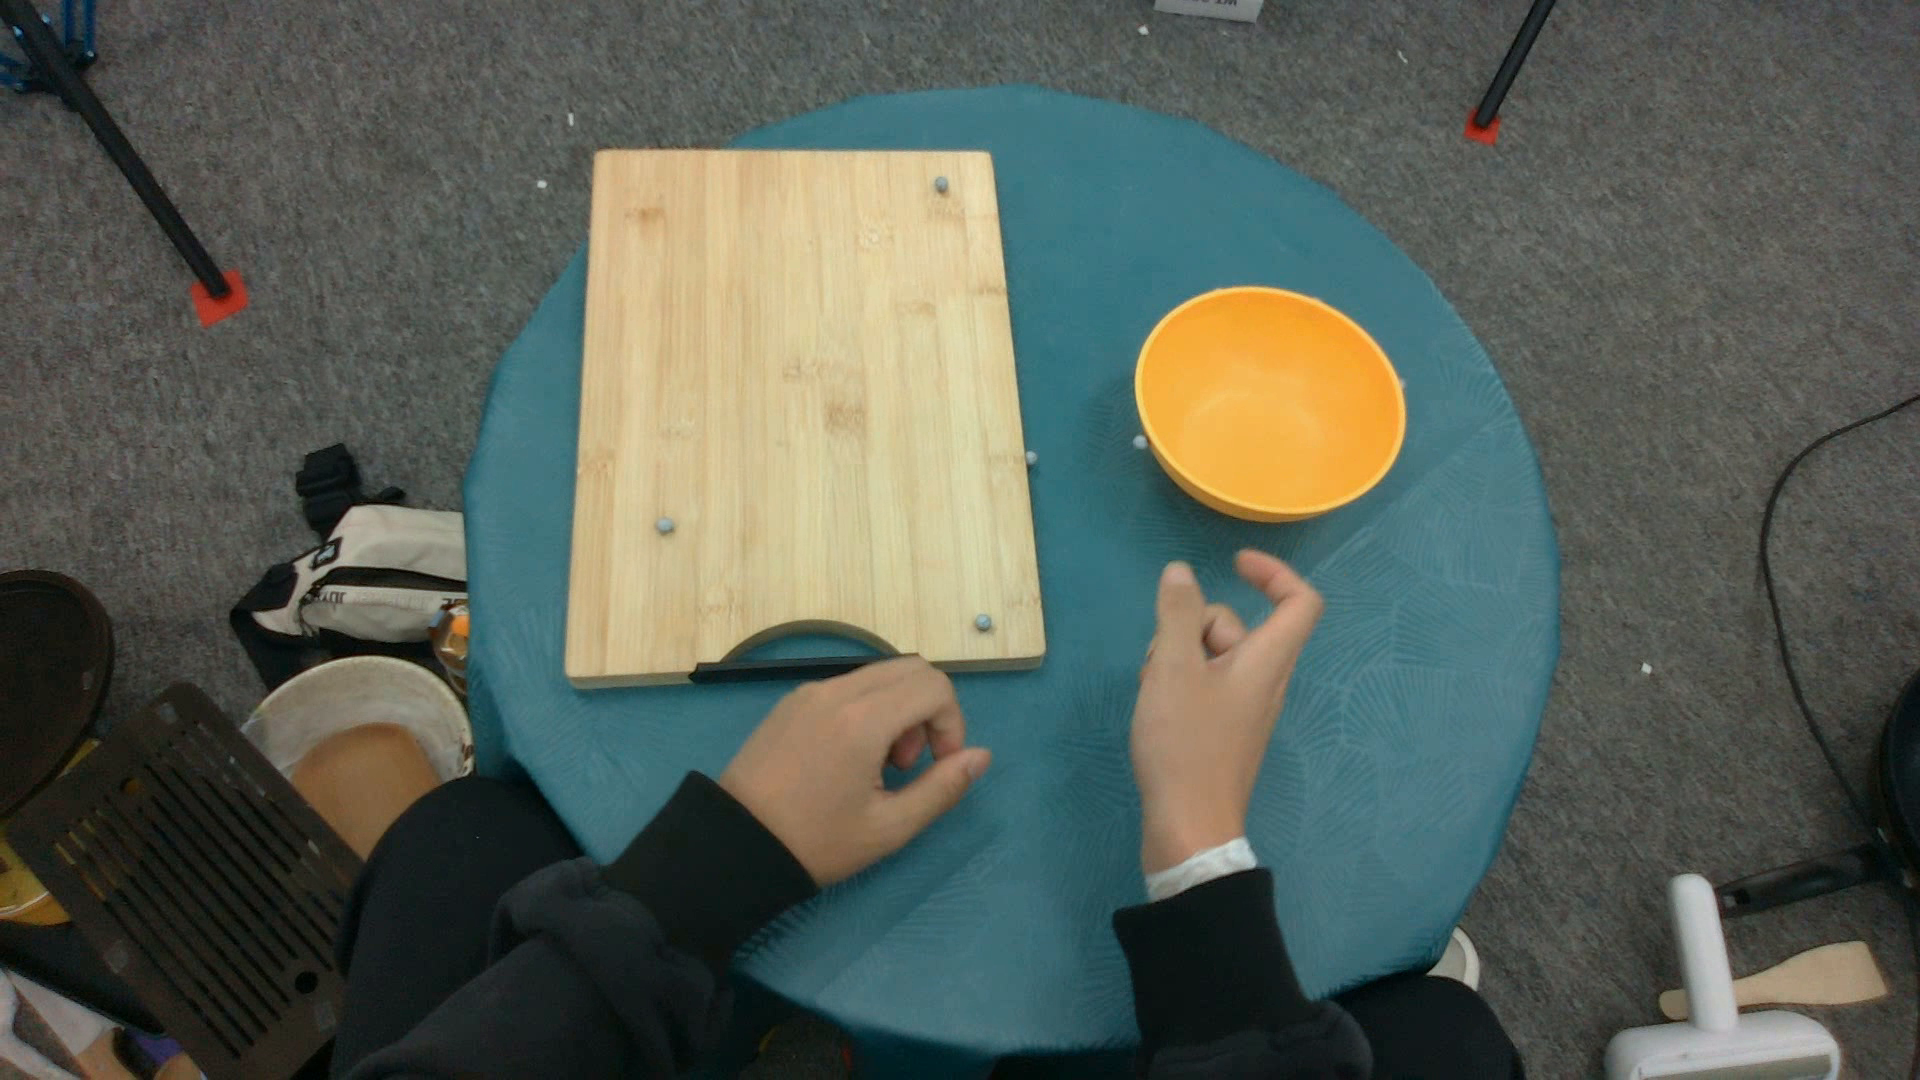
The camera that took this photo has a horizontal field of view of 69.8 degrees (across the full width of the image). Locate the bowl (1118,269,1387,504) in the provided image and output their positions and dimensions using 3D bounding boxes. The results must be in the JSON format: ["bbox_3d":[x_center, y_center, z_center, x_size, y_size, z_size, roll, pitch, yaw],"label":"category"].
[{"bbox_3d":[0.156,-0.075,0.762,0.145,0.060,0.146,1,64,-2],"label":"bowl"}]

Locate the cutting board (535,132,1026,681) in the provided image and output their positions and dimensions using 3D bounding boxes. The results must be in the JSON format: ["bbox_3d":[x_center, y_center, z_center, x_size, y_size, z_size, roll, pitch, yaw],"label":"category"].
[{"bbox_3d":[-0.099,-0.089,0.767,0.251,0.023,0.350,-2,63,-7],"label":"cutting board"}]
